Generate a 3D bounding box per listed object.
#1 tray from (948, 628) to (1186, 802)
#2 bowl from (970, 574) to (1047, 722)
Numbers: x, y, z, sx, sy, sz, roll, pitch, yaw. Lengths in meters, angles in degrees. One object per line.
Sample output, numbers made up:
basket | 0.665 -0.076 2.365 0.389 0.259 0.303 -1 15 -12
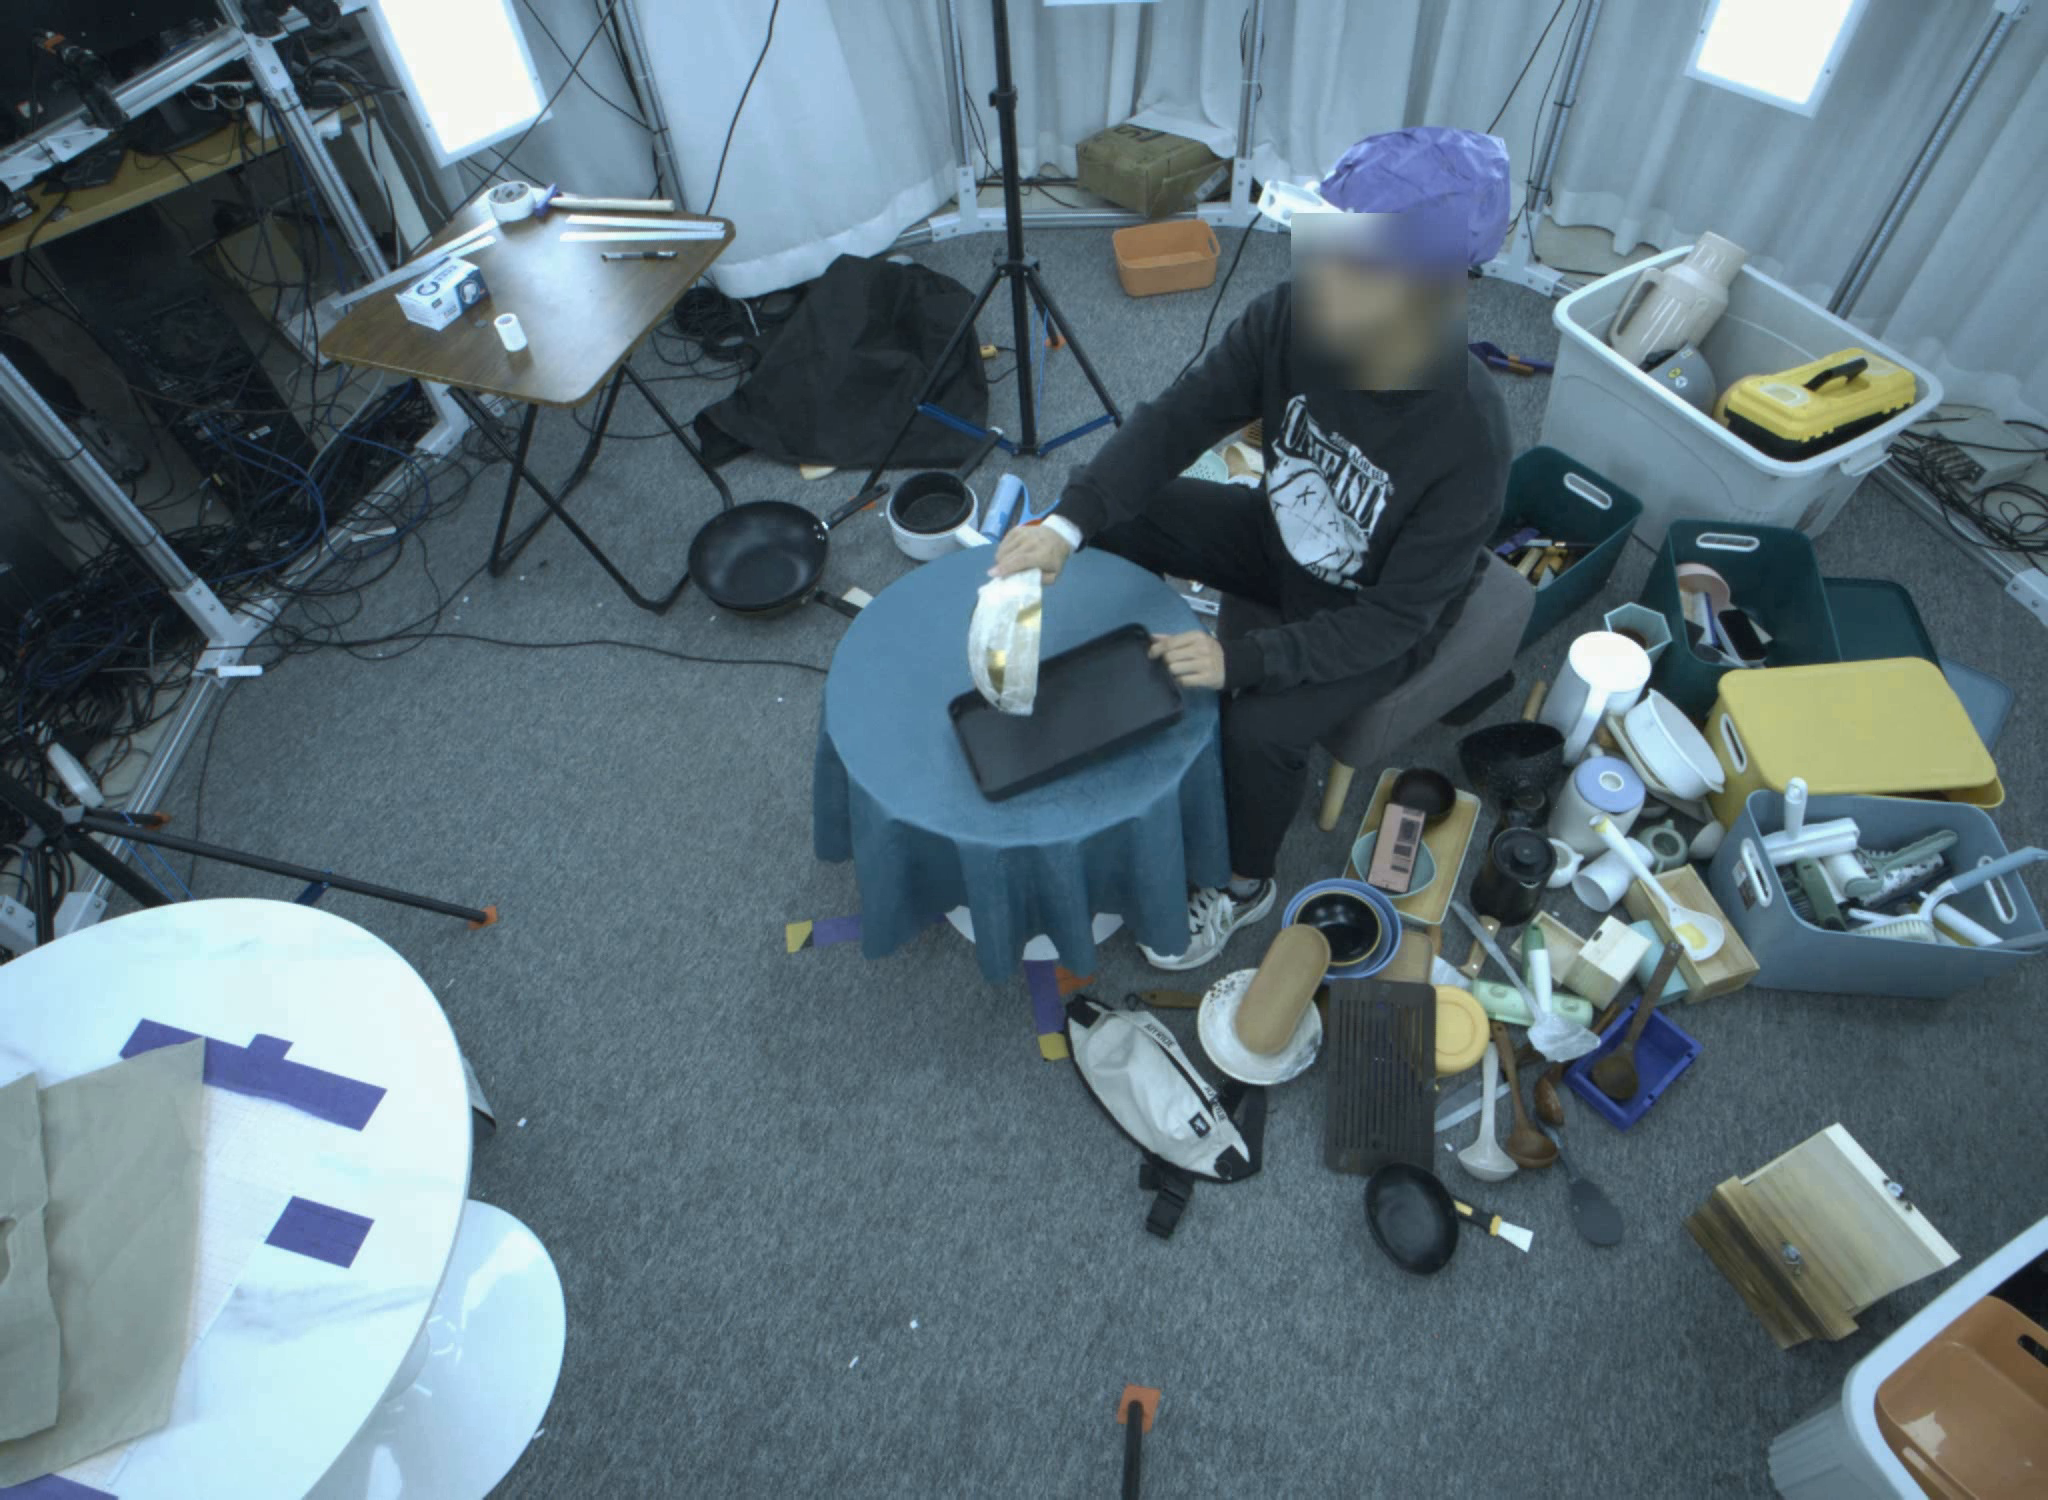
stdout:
tray | 0.061 -0.053 1.775 0.318 0.037 0.181 -21 55 -2
bowl | -0.026 -0.143 1.667 0.095 0.216 0.212 4 55 -3
